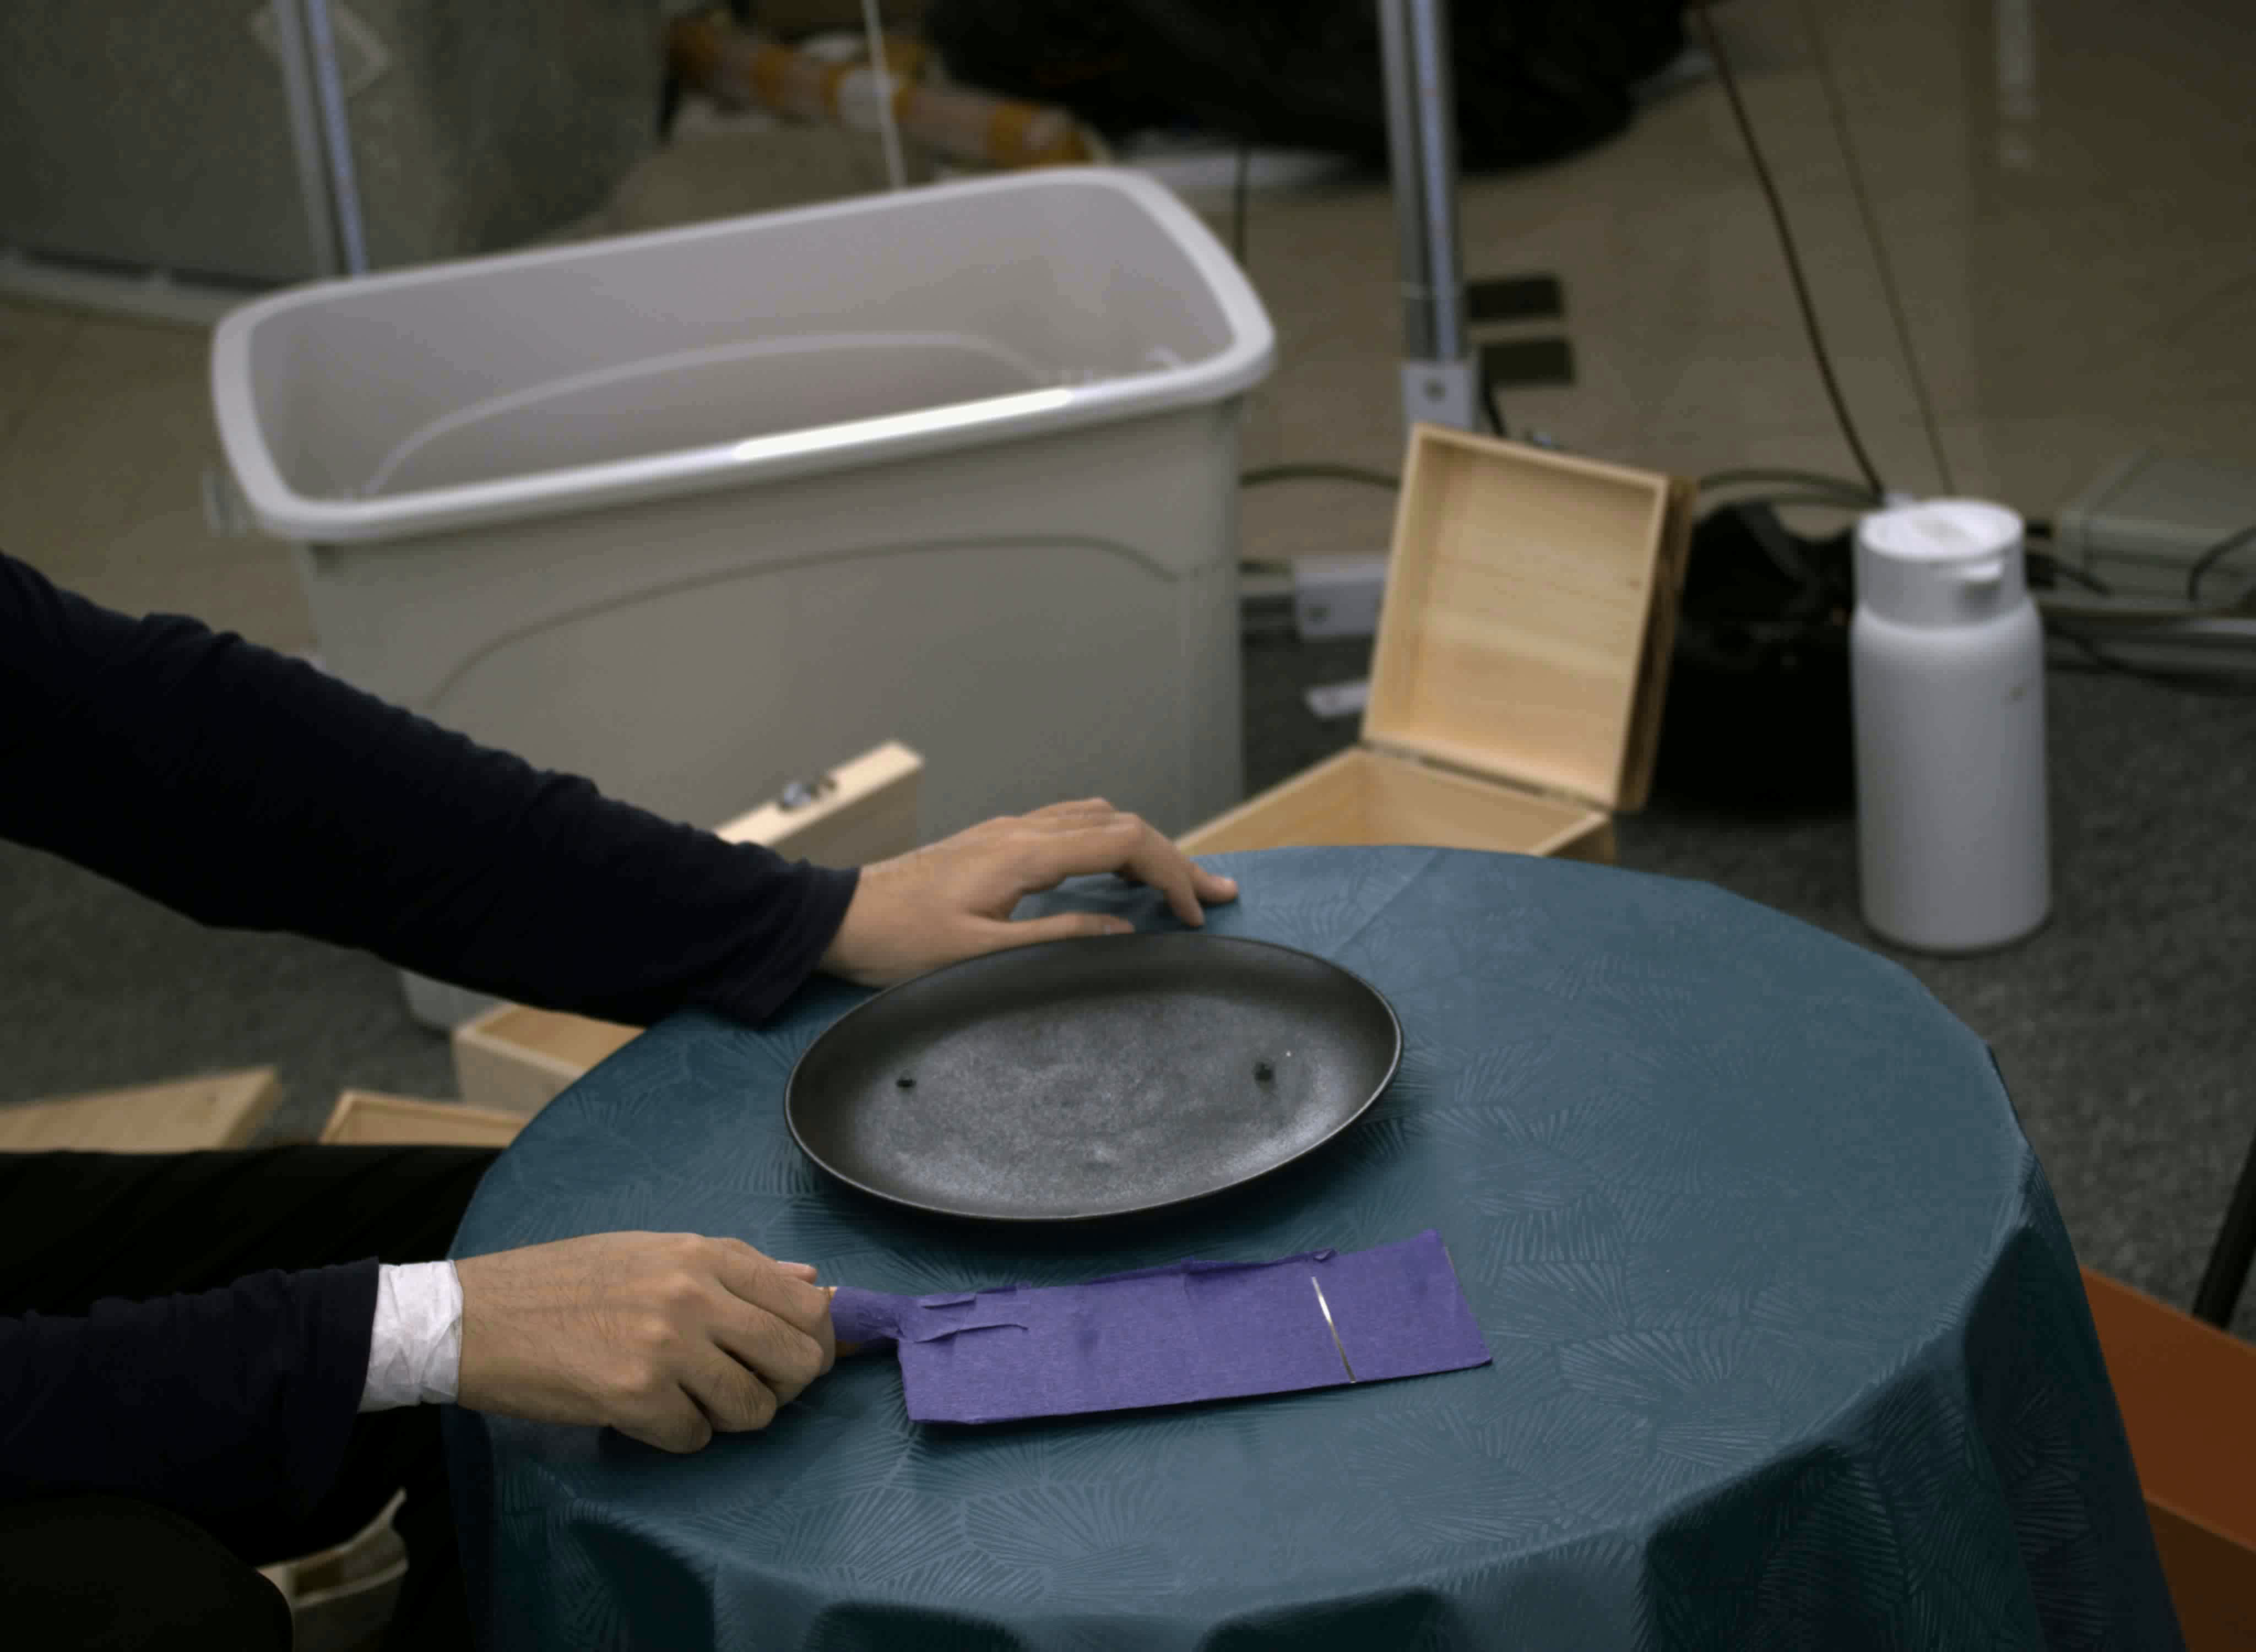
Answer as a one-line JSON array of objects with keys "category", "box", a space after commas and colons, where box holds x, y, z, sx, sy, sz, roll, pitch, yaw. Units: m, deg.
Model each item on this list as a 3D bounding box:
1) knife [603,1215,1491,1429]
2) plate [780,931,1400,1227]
[{"category": "knife", "box": [-0.030, 0.183, 2.033, 0.314, 0.033, 0.102, -8, 25, -4]}, {"category": "plate", "box": [-0.015, 0.103, 2.206, 0.244, 0.024, 0.241, -5, 25, 3]}]
